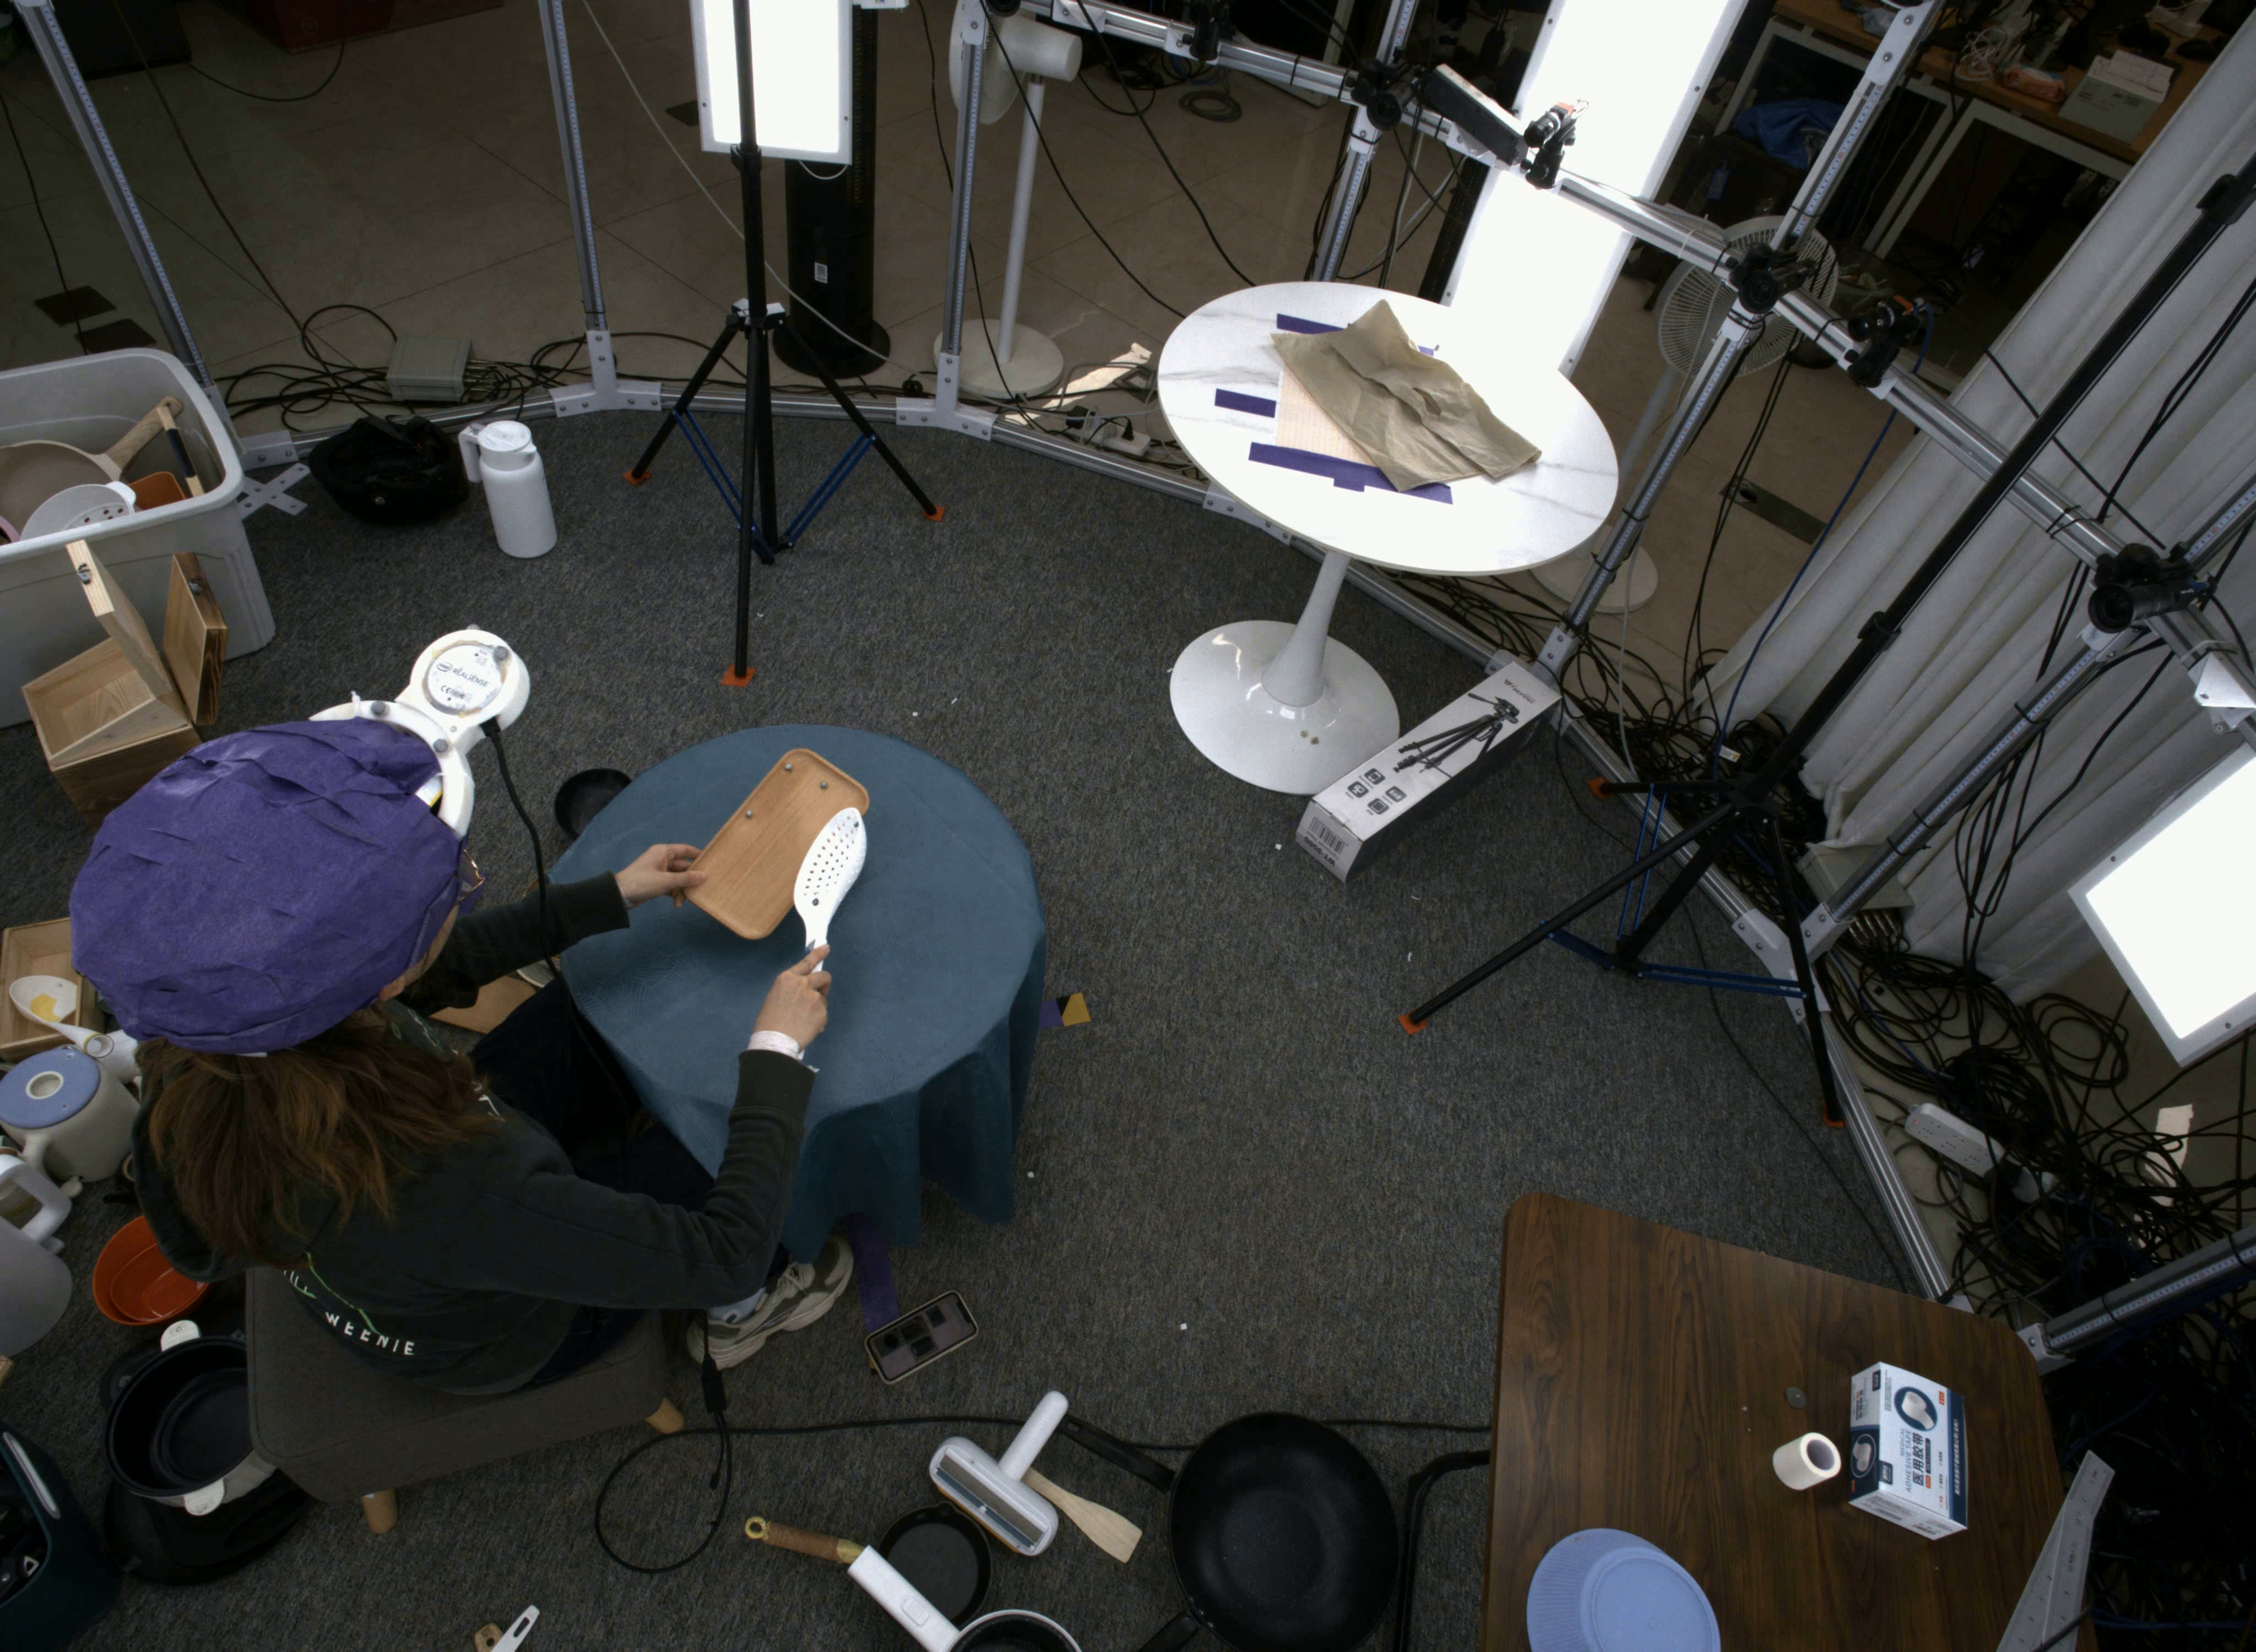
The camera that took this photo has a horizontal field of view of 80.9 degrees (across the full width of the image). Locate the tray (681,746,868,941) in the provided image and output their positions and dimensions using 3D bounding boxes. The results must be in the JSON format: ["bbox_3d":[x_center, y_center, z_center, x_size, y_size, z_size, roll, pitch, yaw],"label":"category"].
[{"bbox_3d":[-0.435,0.018,1.603,0.130,0.023,0.250,35,62,-3],"label":"tray"}]

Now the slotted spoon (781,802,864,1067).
[{"bbox_3d":[-0.352,0.115,1.465,0.047,0.135,0.343,34,38,-26],"label":"slotted spoon"}]
